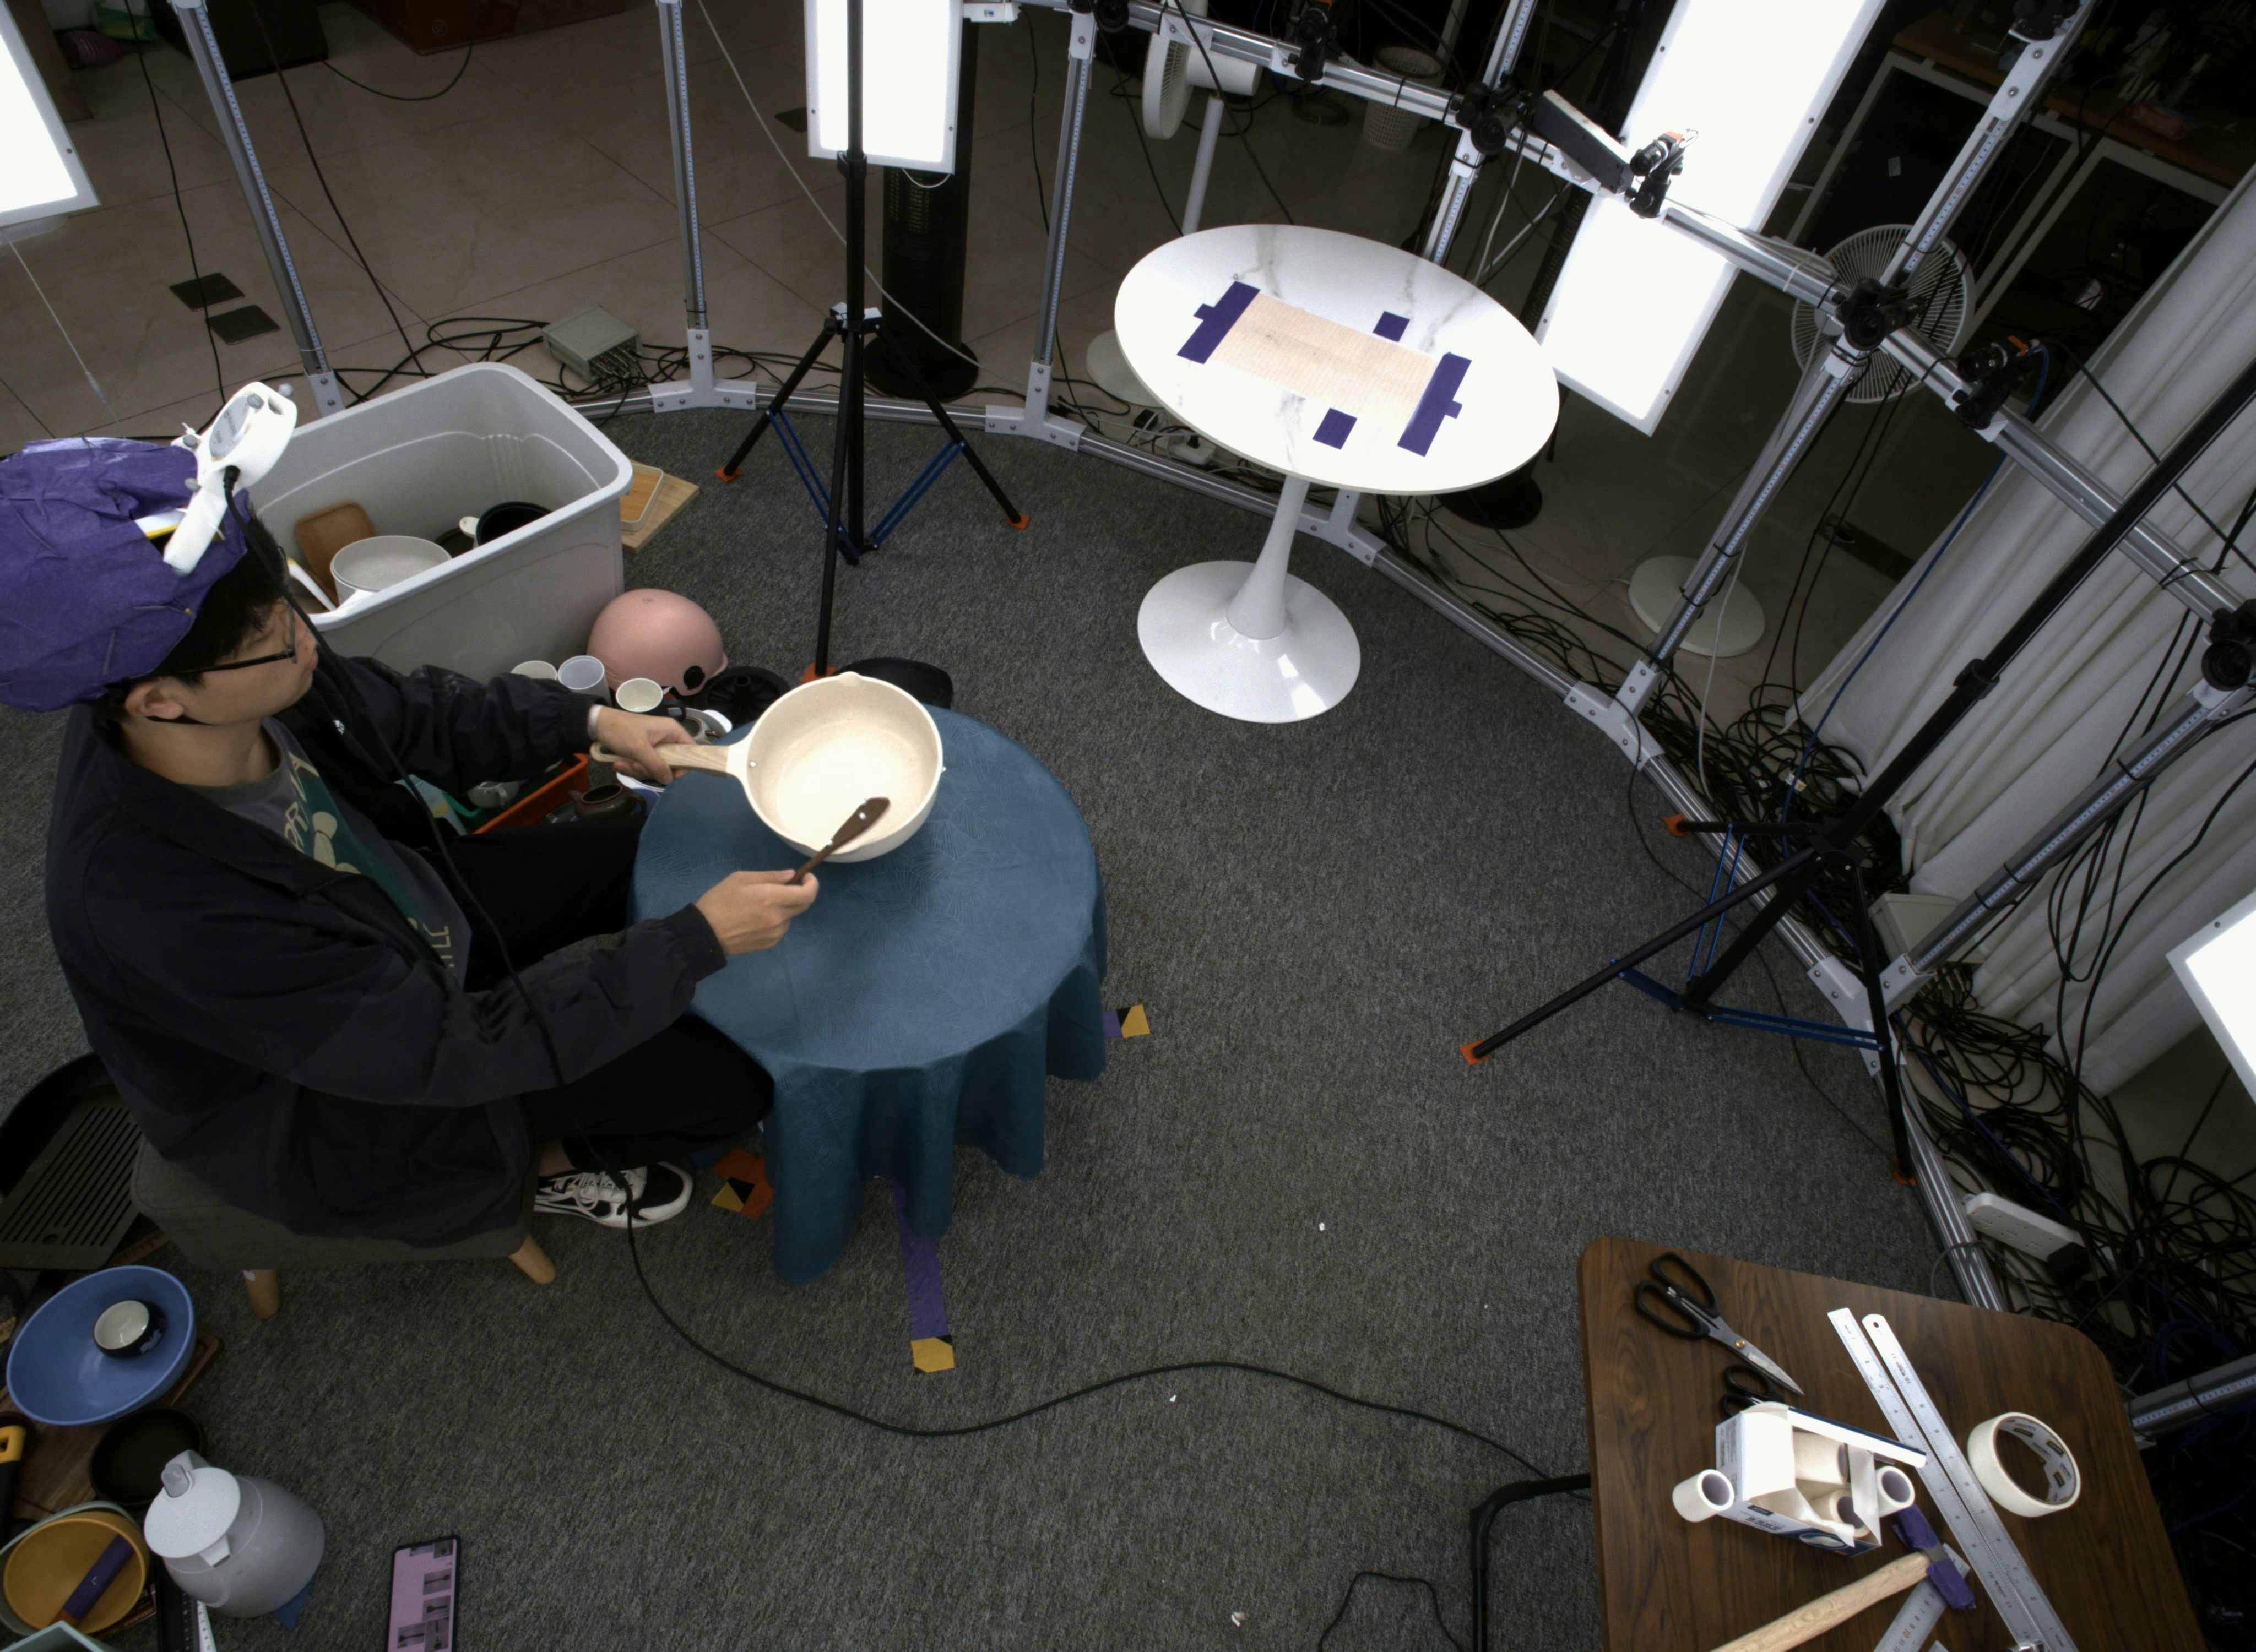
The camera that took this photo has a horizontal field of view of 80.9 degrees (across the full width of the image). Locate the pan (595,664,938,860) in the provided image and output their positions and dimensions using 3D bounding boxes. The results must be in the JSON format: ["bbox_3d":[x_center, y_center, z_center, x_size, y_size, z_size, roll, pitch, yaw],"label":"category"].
[{"bbox_3d":[-0.455,-0.074,1.648,0.432,0.104,0.260,-1,66,-5],"label":"pan"}]

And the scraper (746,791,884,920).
[{"bbox_3d":[-0.362,0.032,1.499,0.211,0.074,0.011,-47,110,-24],"label":"scraper"}]
